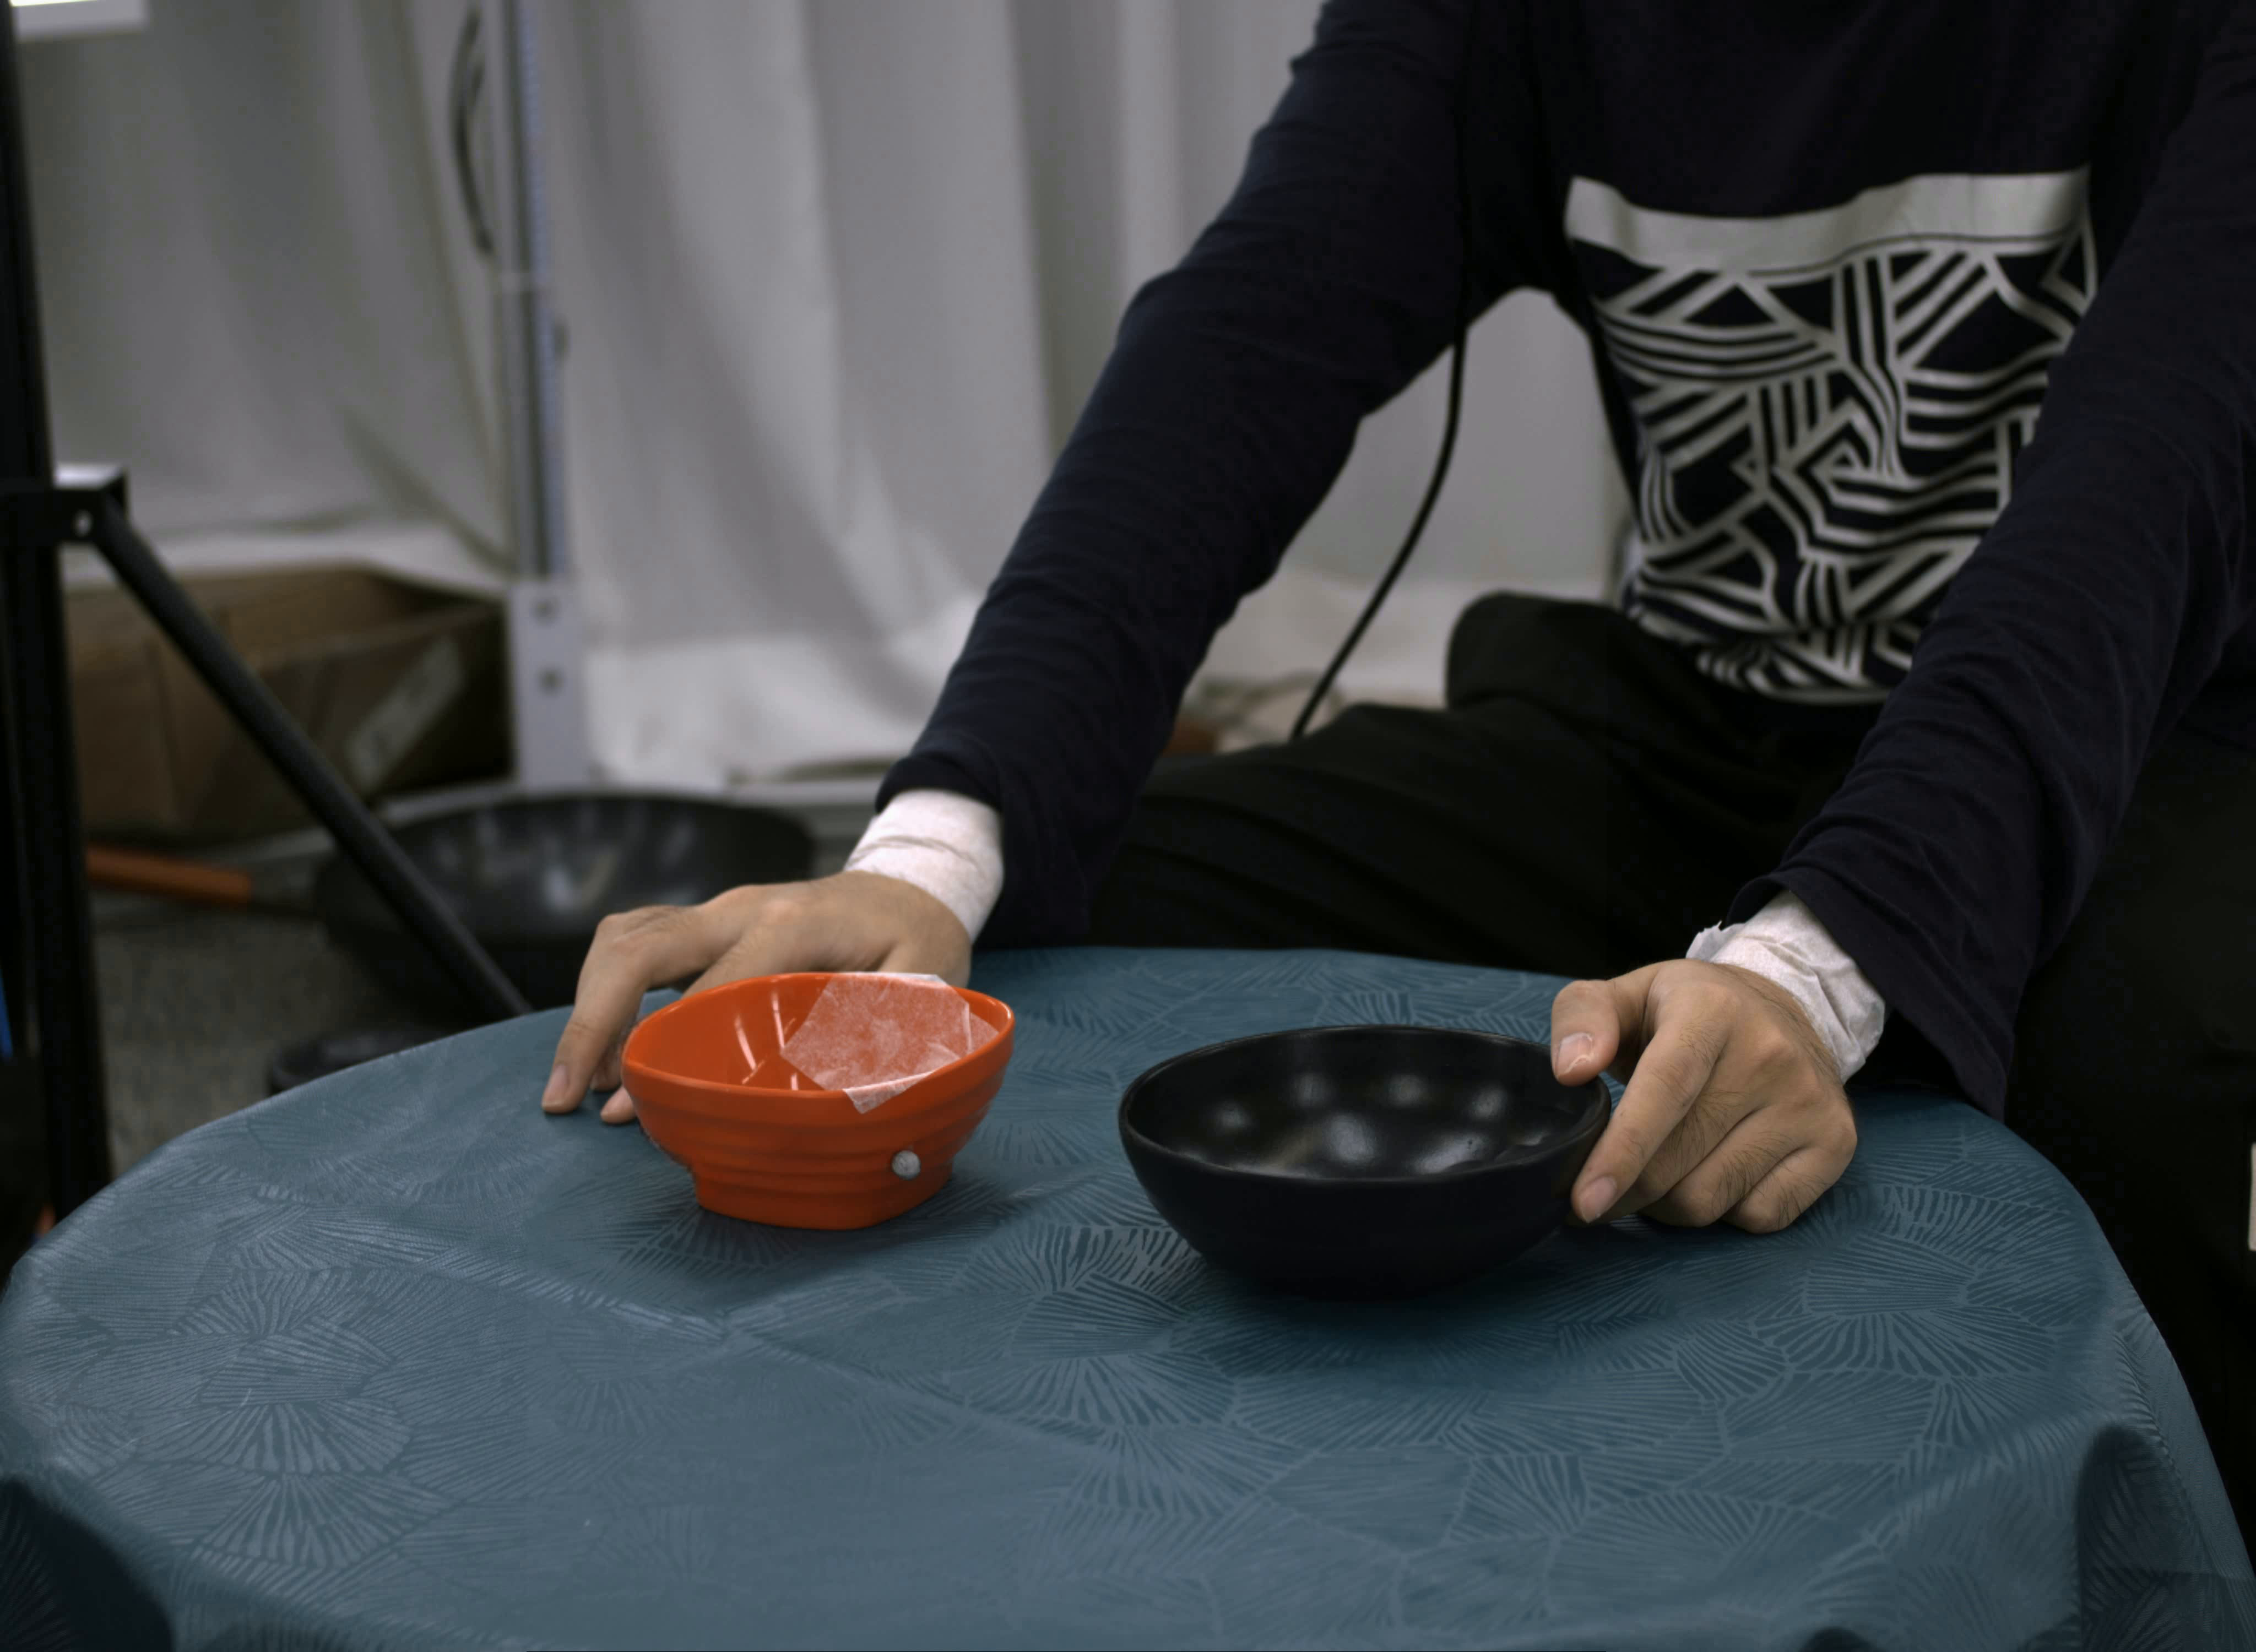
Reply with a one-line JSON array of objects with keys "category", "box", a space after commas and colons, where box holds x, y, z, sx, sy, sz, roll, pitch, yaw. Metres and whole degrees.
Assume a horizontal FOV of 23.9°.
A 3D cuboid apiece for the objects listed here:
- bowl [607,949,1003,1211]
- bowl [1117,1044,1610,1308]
[{"category": "bowl", "box": [-0.091, 0.077, 1.570, 0.118, 0.051, 0.119, -10, 16, 1]}, {"category": "bowl", "box": [0.066, 0.102, 1.491, 0.139, 0.050, 0.140, -1, 12, -1]}]
